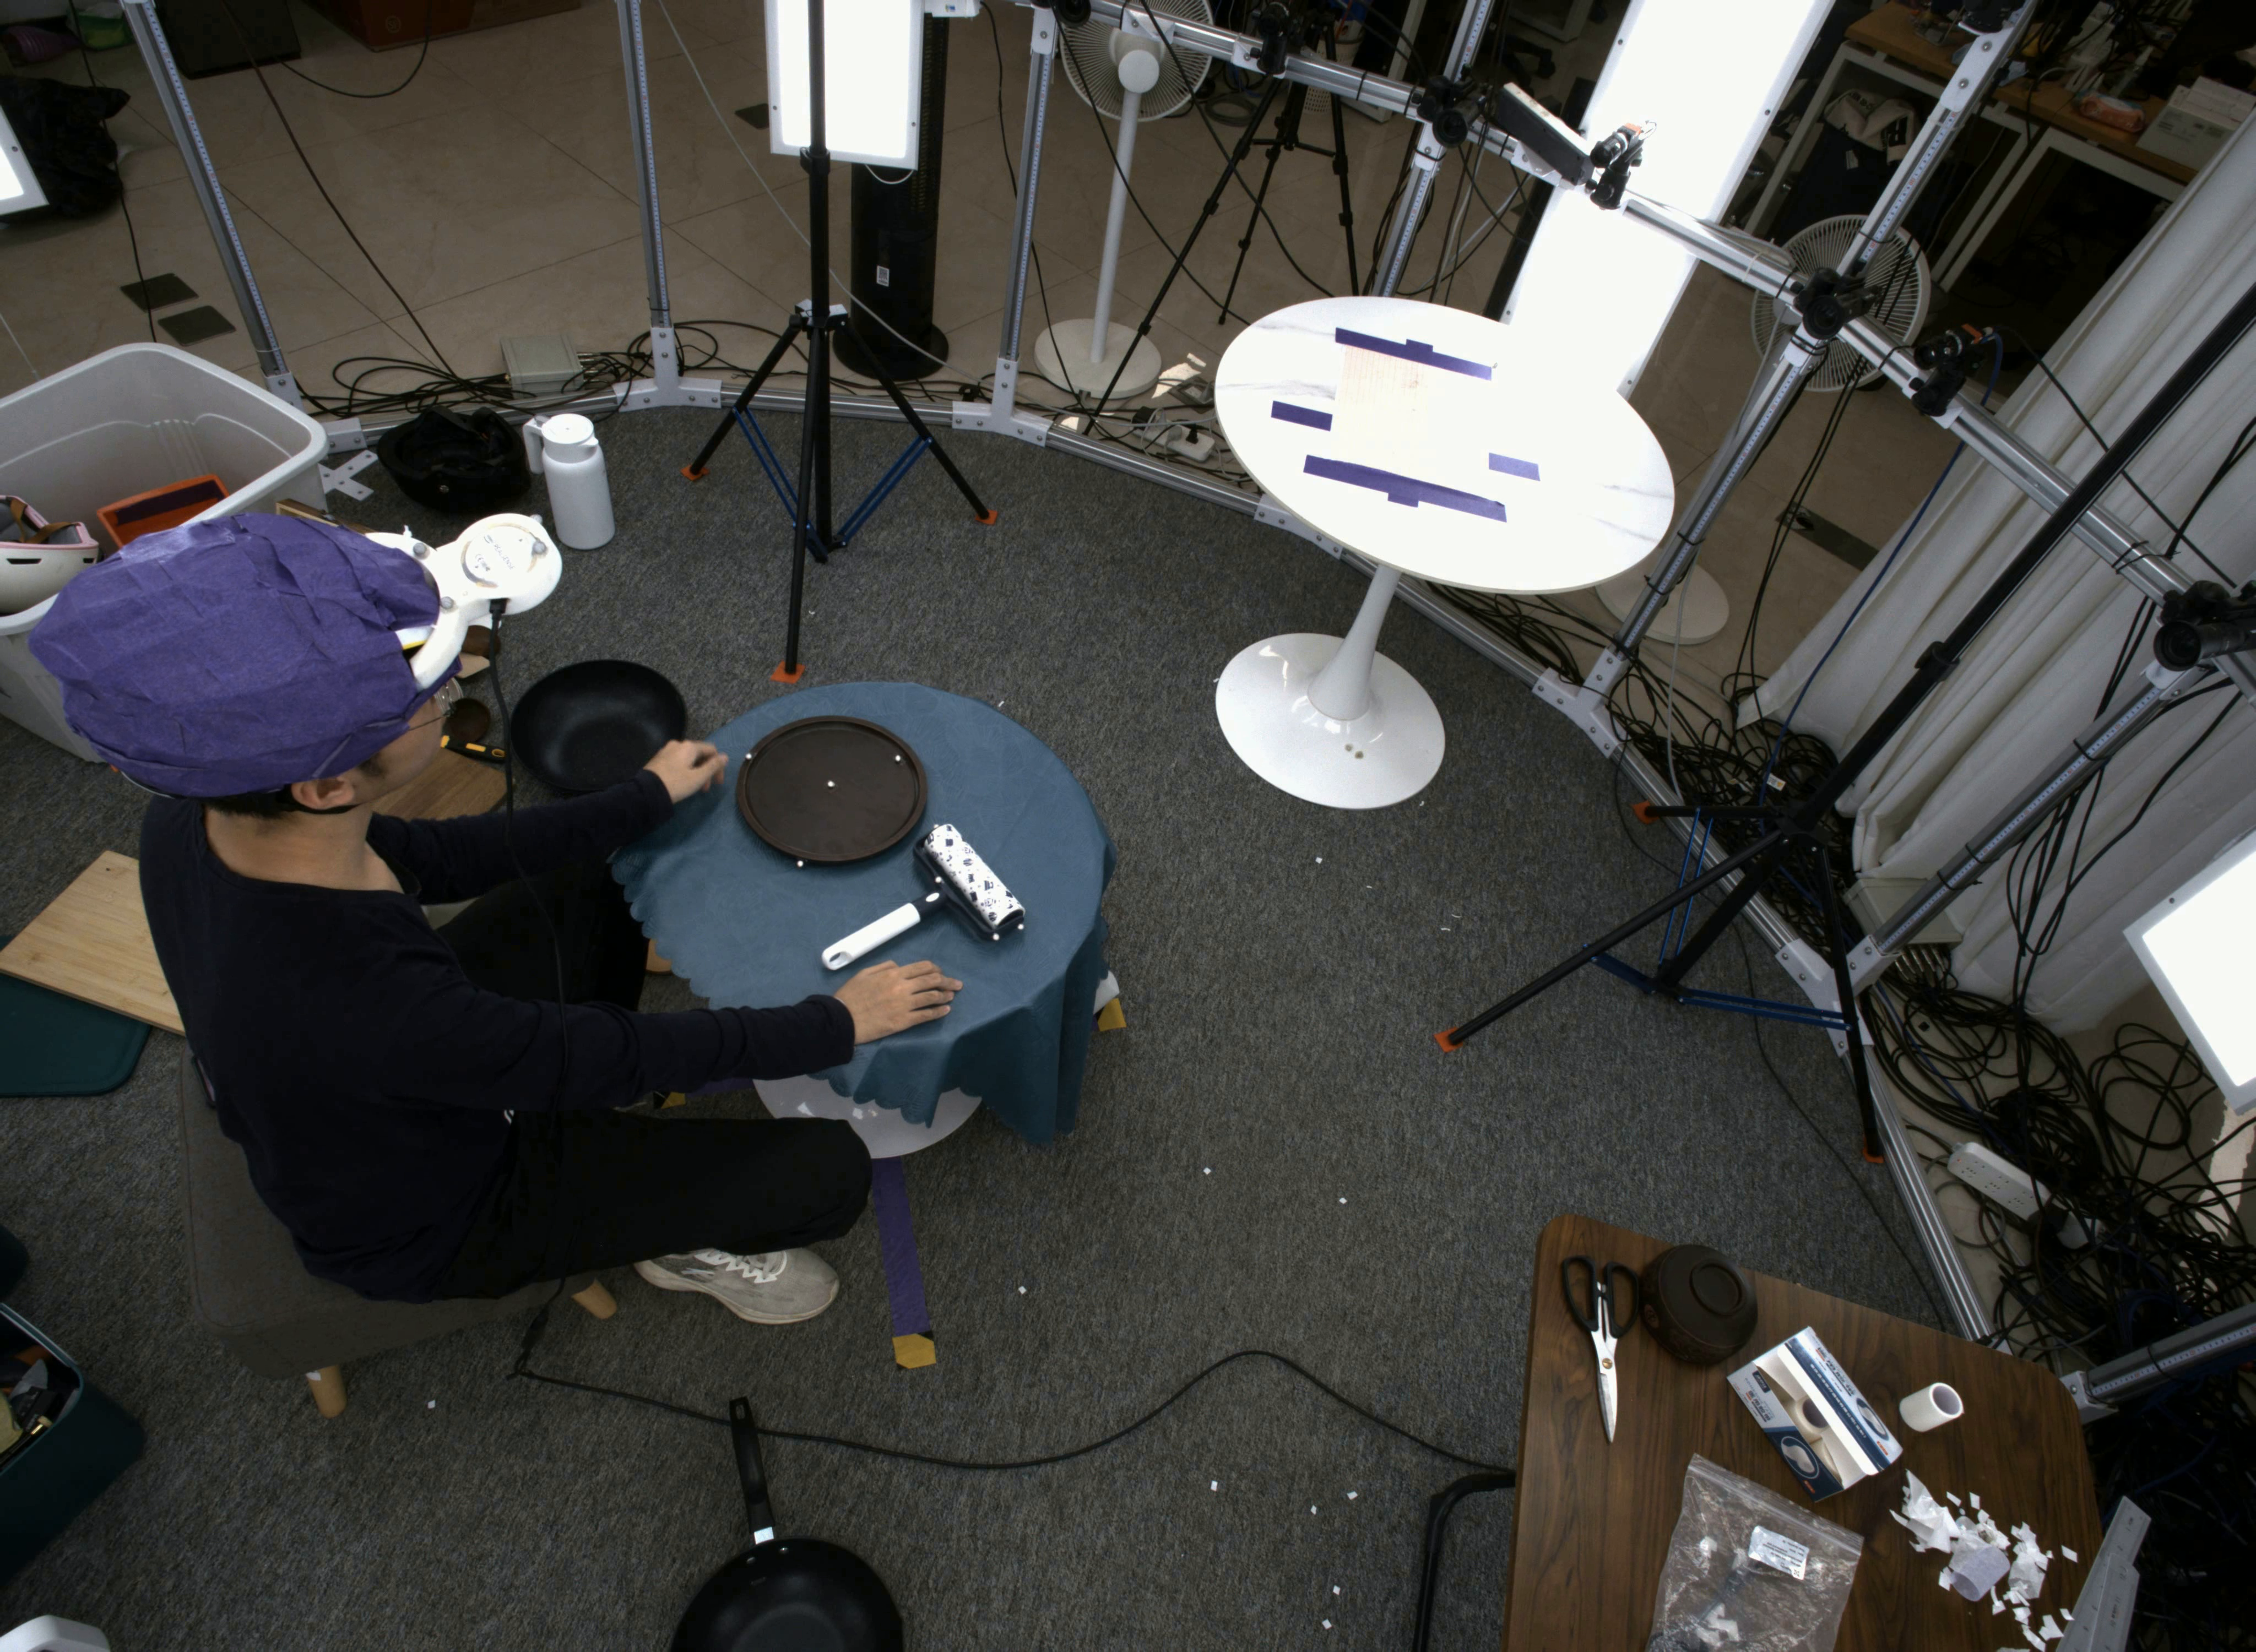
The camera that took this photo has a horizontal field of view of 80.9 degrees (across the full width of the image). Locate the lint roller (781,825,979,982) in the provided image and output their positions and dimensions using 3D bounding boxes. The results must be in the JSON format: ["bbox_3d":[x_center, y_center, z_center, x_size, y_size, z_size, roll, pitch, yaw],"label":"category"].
[{"bbox_3d":[-0.332,0.116,1.646,0.247,0.051,0.172,-35,70,-30],"label":"lint roller"}]

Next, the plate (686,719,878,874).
[{"bbox_3d":[-0.464,-0.042,1.742,0.254,0.029,0.250,7,54,-8],"label":"plate"}]
